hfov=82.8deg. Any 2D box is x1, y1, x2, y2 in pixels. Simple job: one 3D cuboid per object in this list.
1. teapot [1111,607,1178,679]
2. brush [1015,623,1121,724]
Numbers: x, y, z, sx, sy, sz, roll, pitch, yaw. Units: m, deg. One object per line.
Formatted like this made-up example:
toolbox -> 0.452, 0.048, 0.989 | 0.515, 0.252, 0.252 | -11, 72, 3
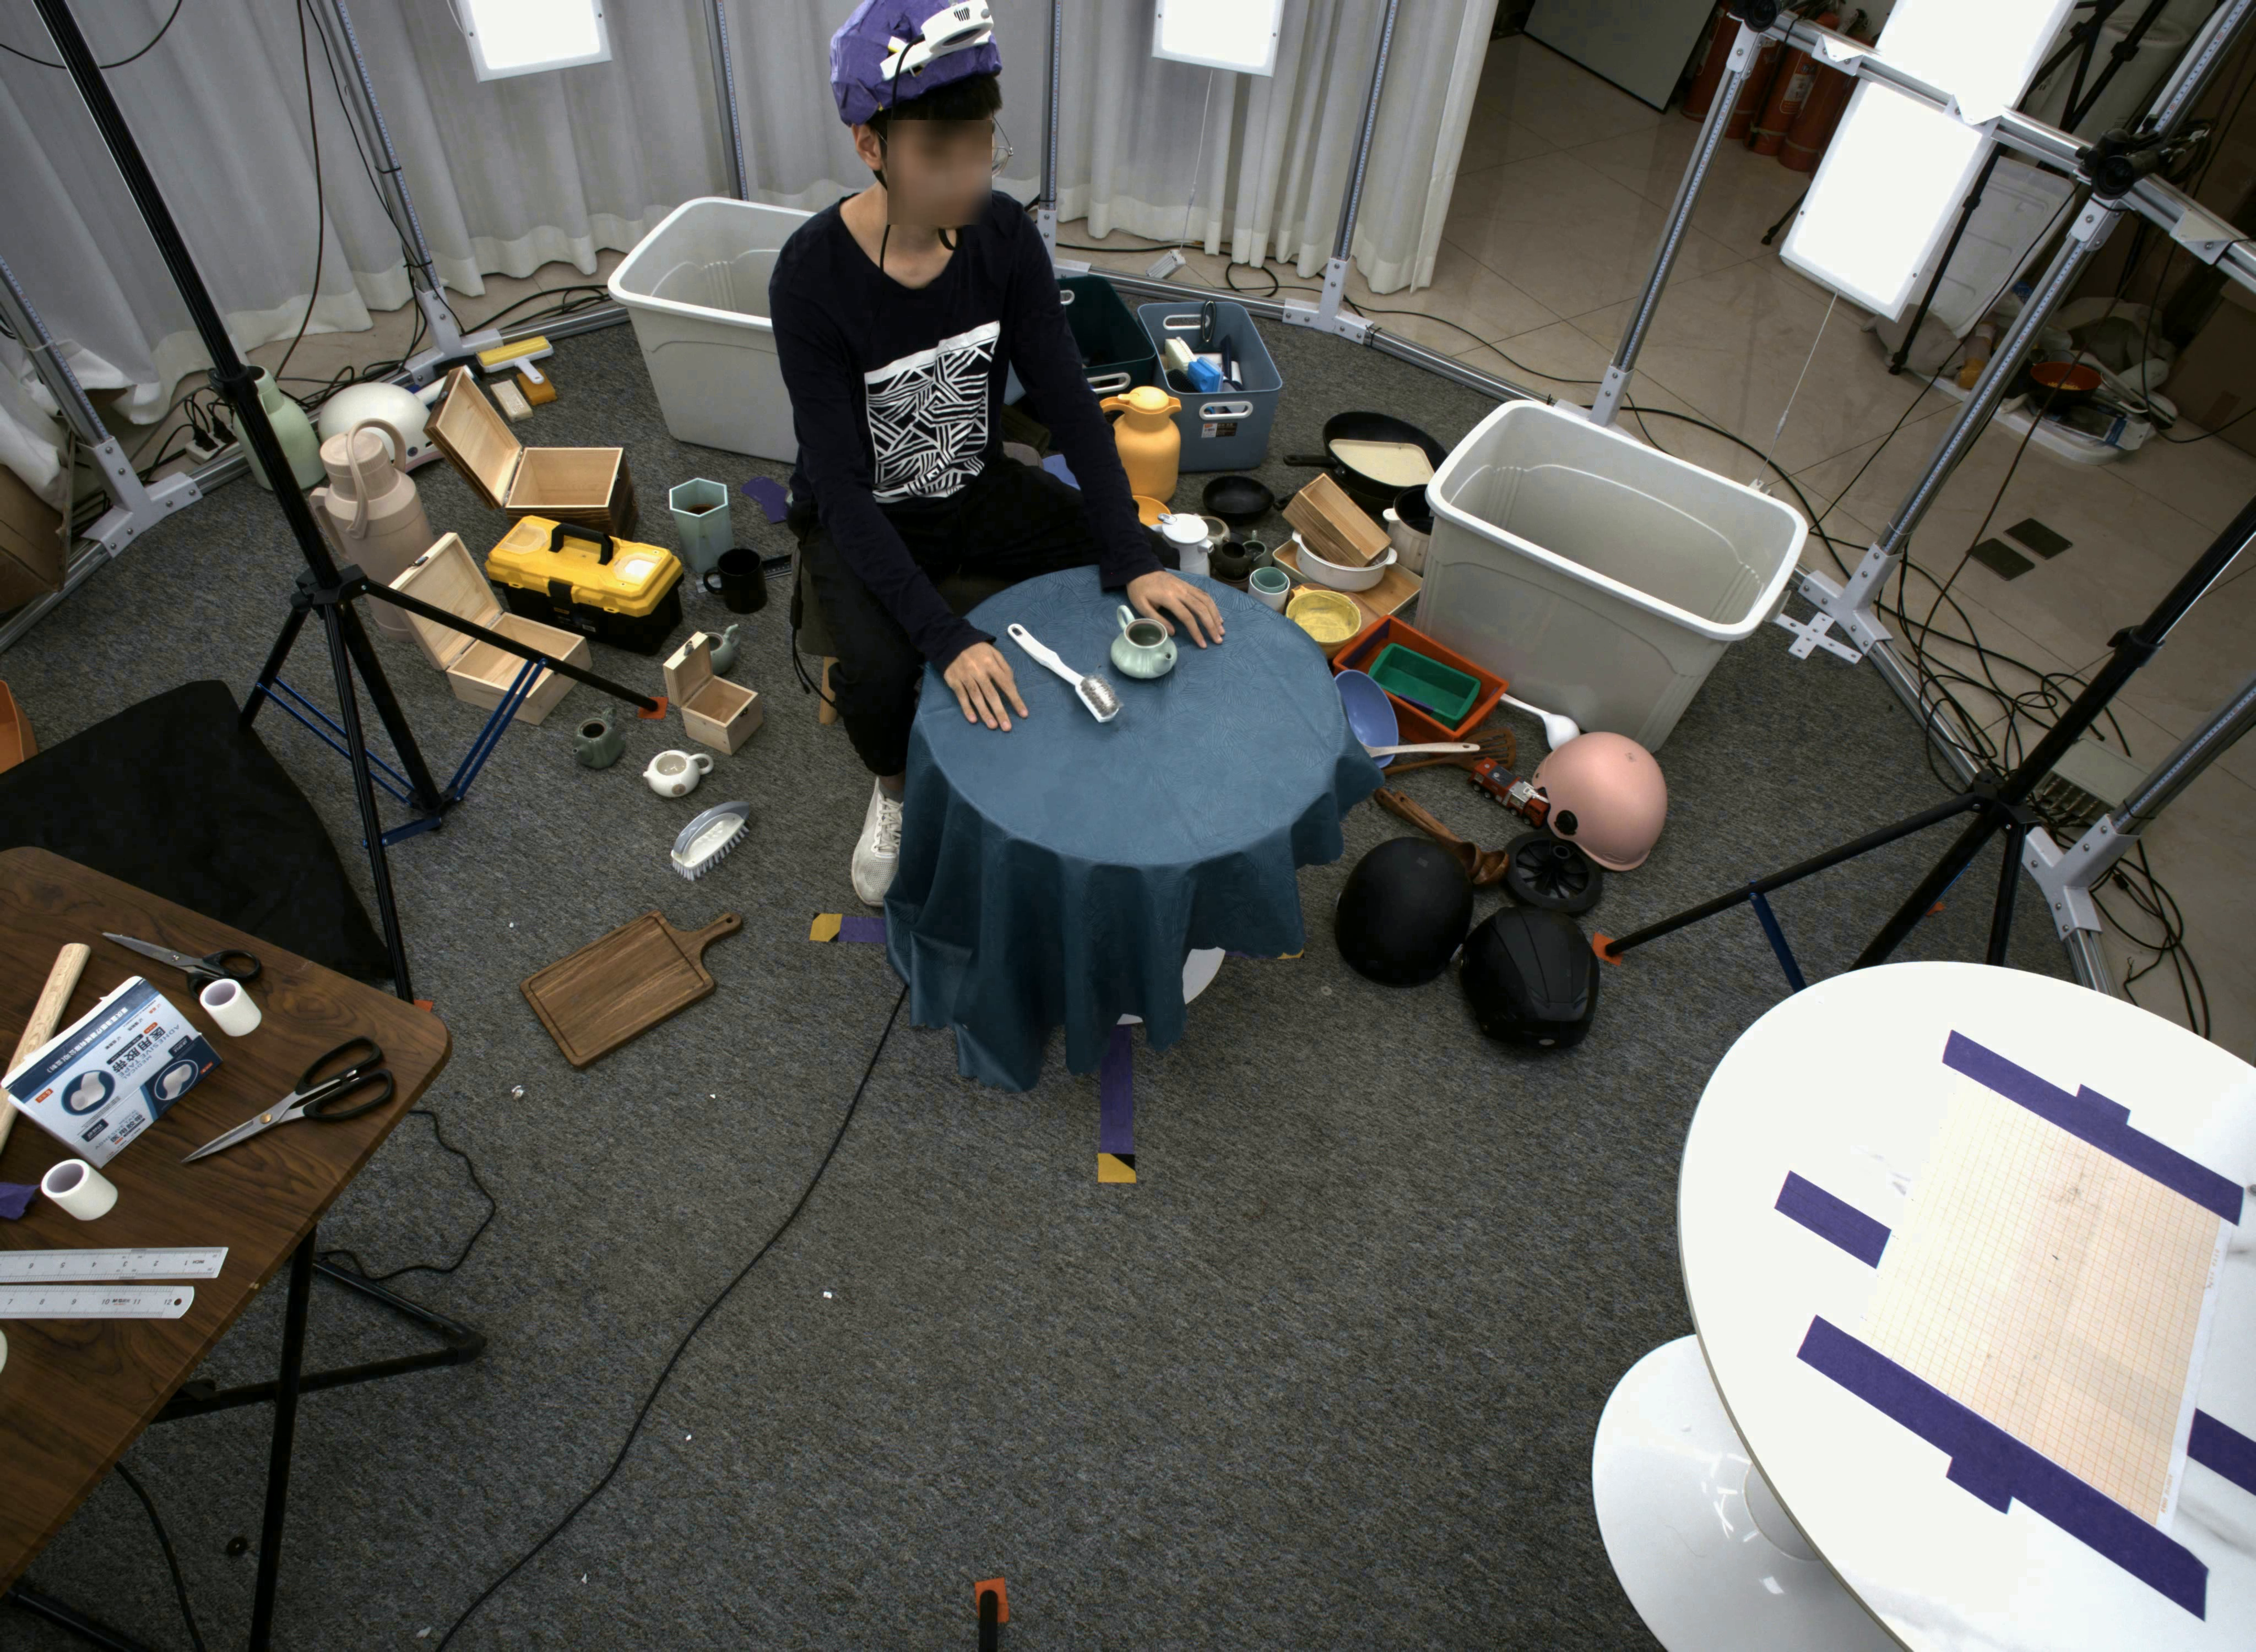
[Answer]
teapot -> 0.022, -0.263, 1.859 | 0.096, 0.060, 0.139 | -28, 56, -22
brush -> -0.091, -0.232, 1.834 | 0.034, 0.049, 0.248 | -29, 56, -20
